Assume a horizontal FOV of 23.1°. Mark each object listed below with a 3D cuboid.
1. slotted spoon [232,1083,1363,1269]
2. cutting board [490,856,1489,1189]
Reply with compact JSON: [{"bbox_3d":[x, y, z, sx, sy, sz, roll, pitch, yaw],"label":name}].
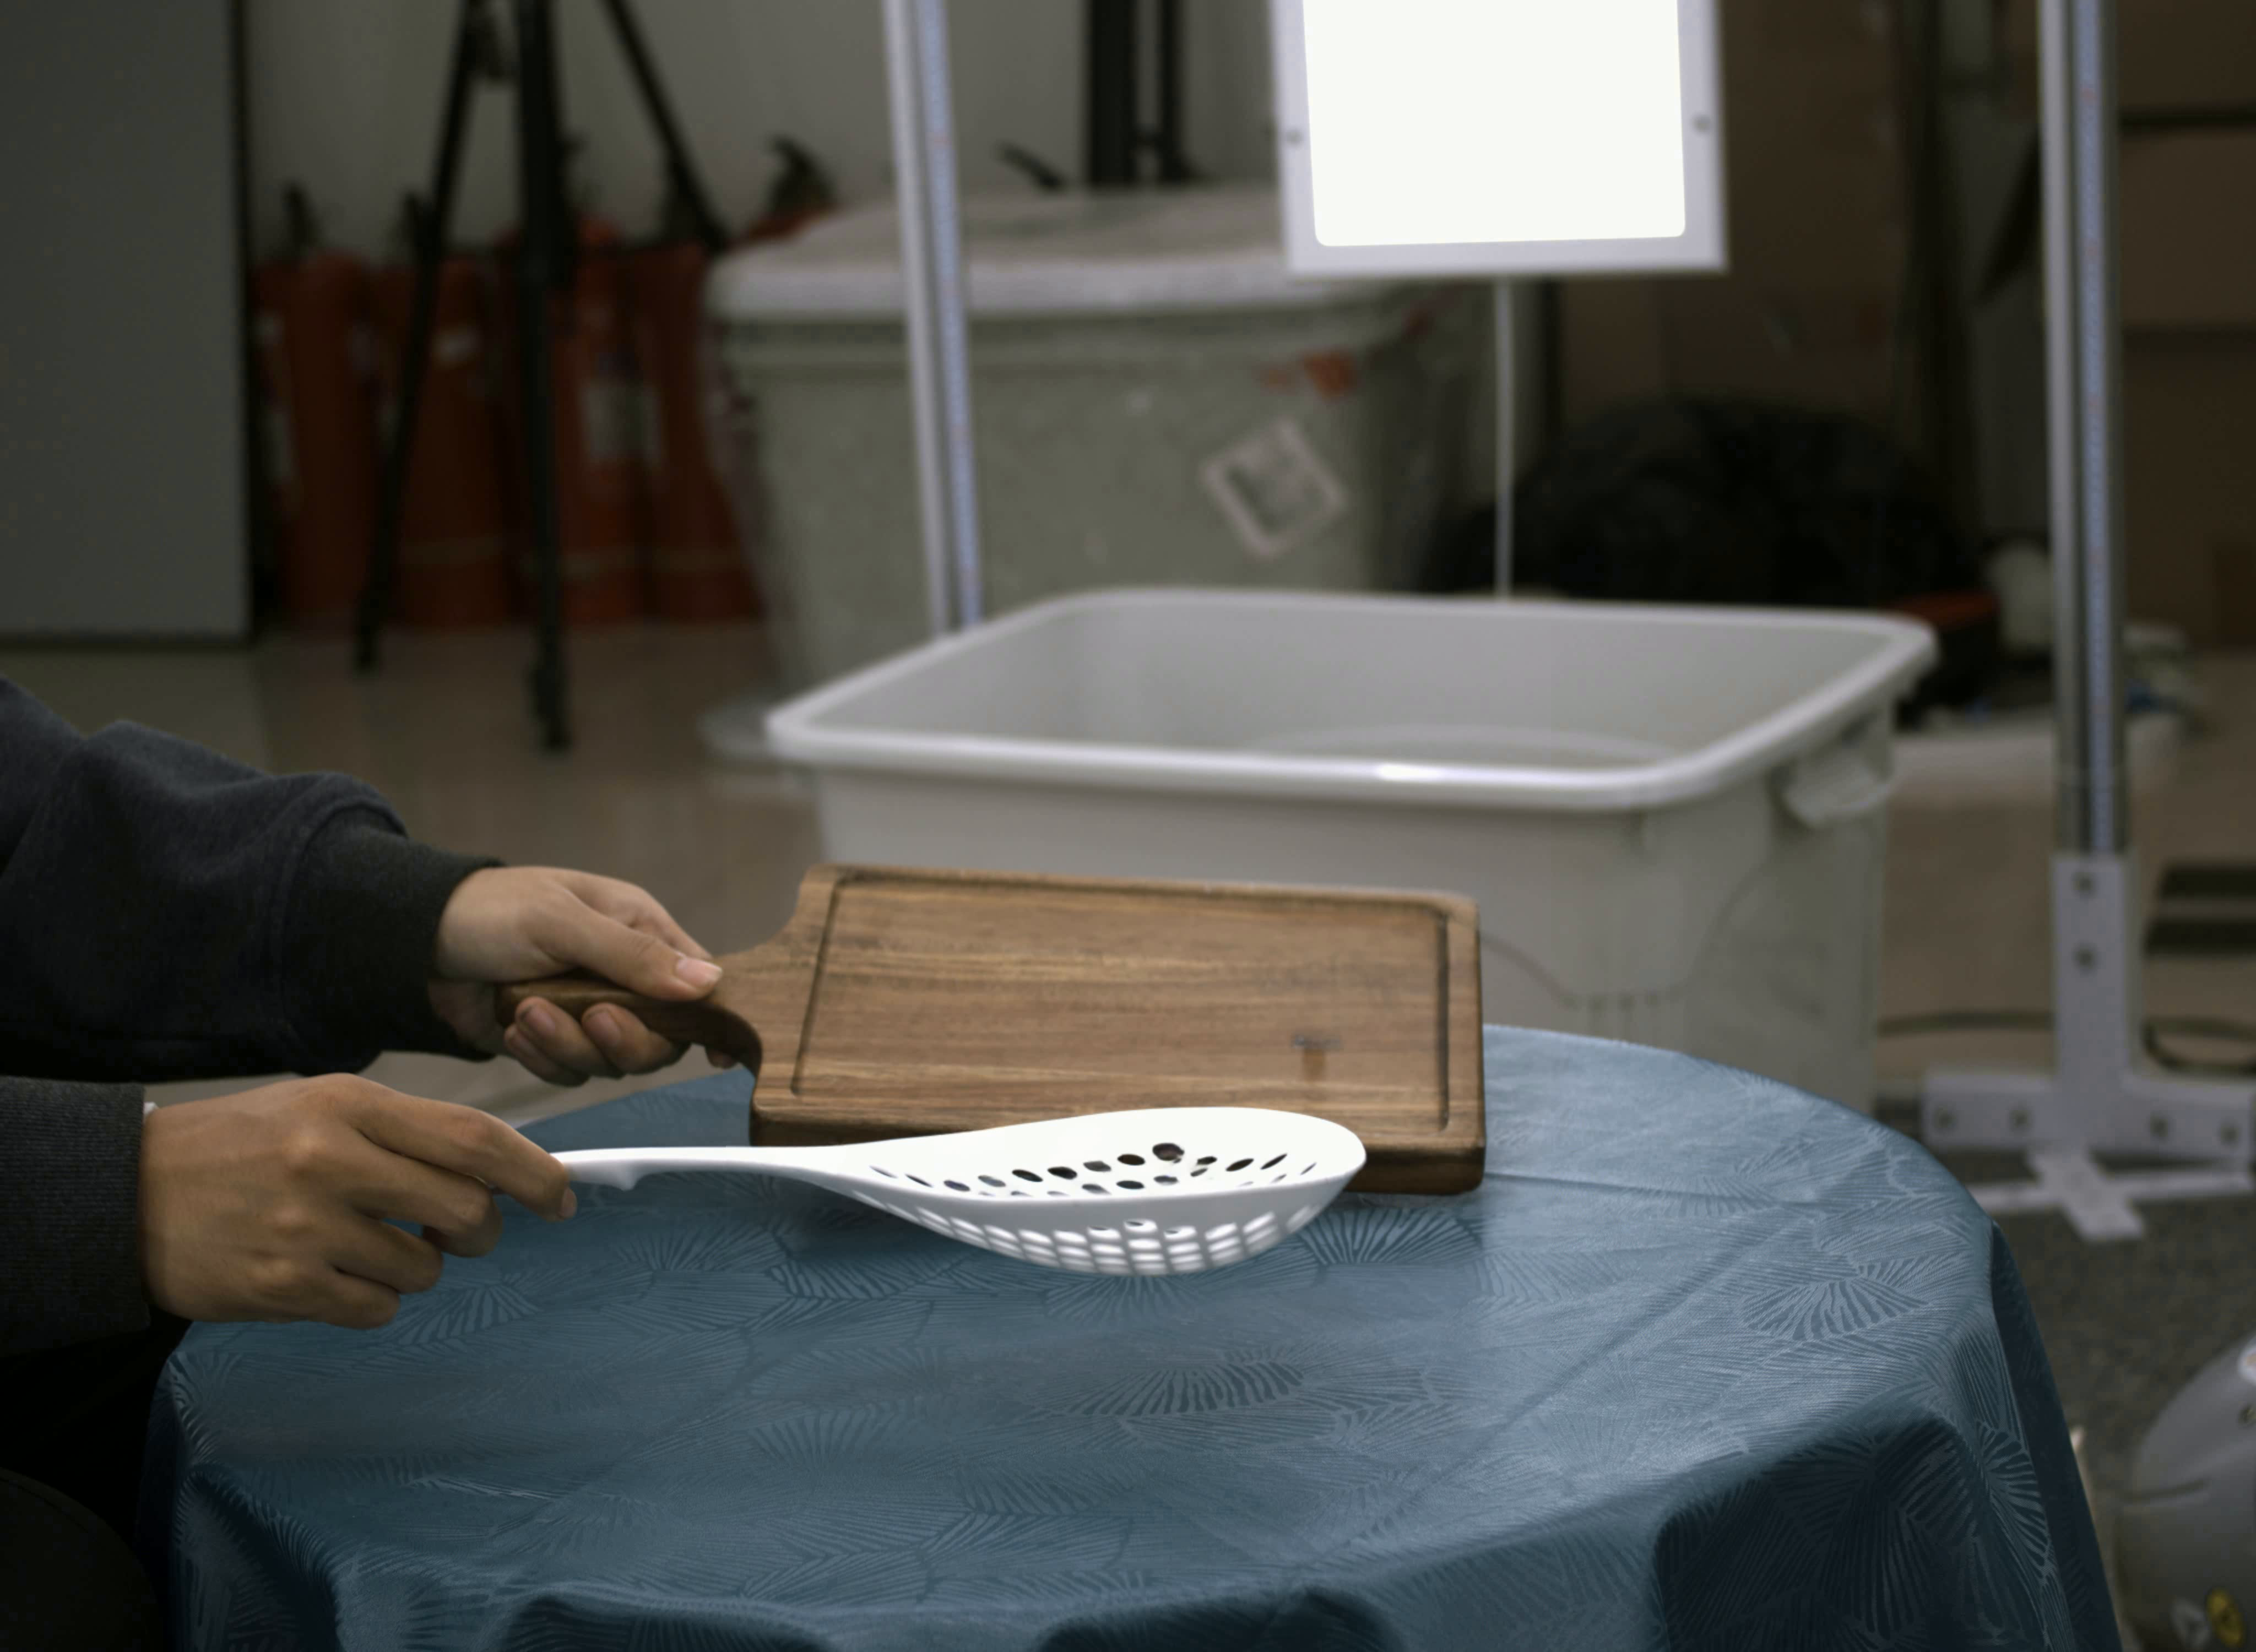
[{"bbox_3d":[-0.102,0.111,1.694,0.348,0.050,0.136,2,8,5],"label":"slotted spoon"},{"bbox_3d":[-0.050,0.064,1.942,0.352,0.023,0.200,2,26,4],"label":"cutting board"}]
